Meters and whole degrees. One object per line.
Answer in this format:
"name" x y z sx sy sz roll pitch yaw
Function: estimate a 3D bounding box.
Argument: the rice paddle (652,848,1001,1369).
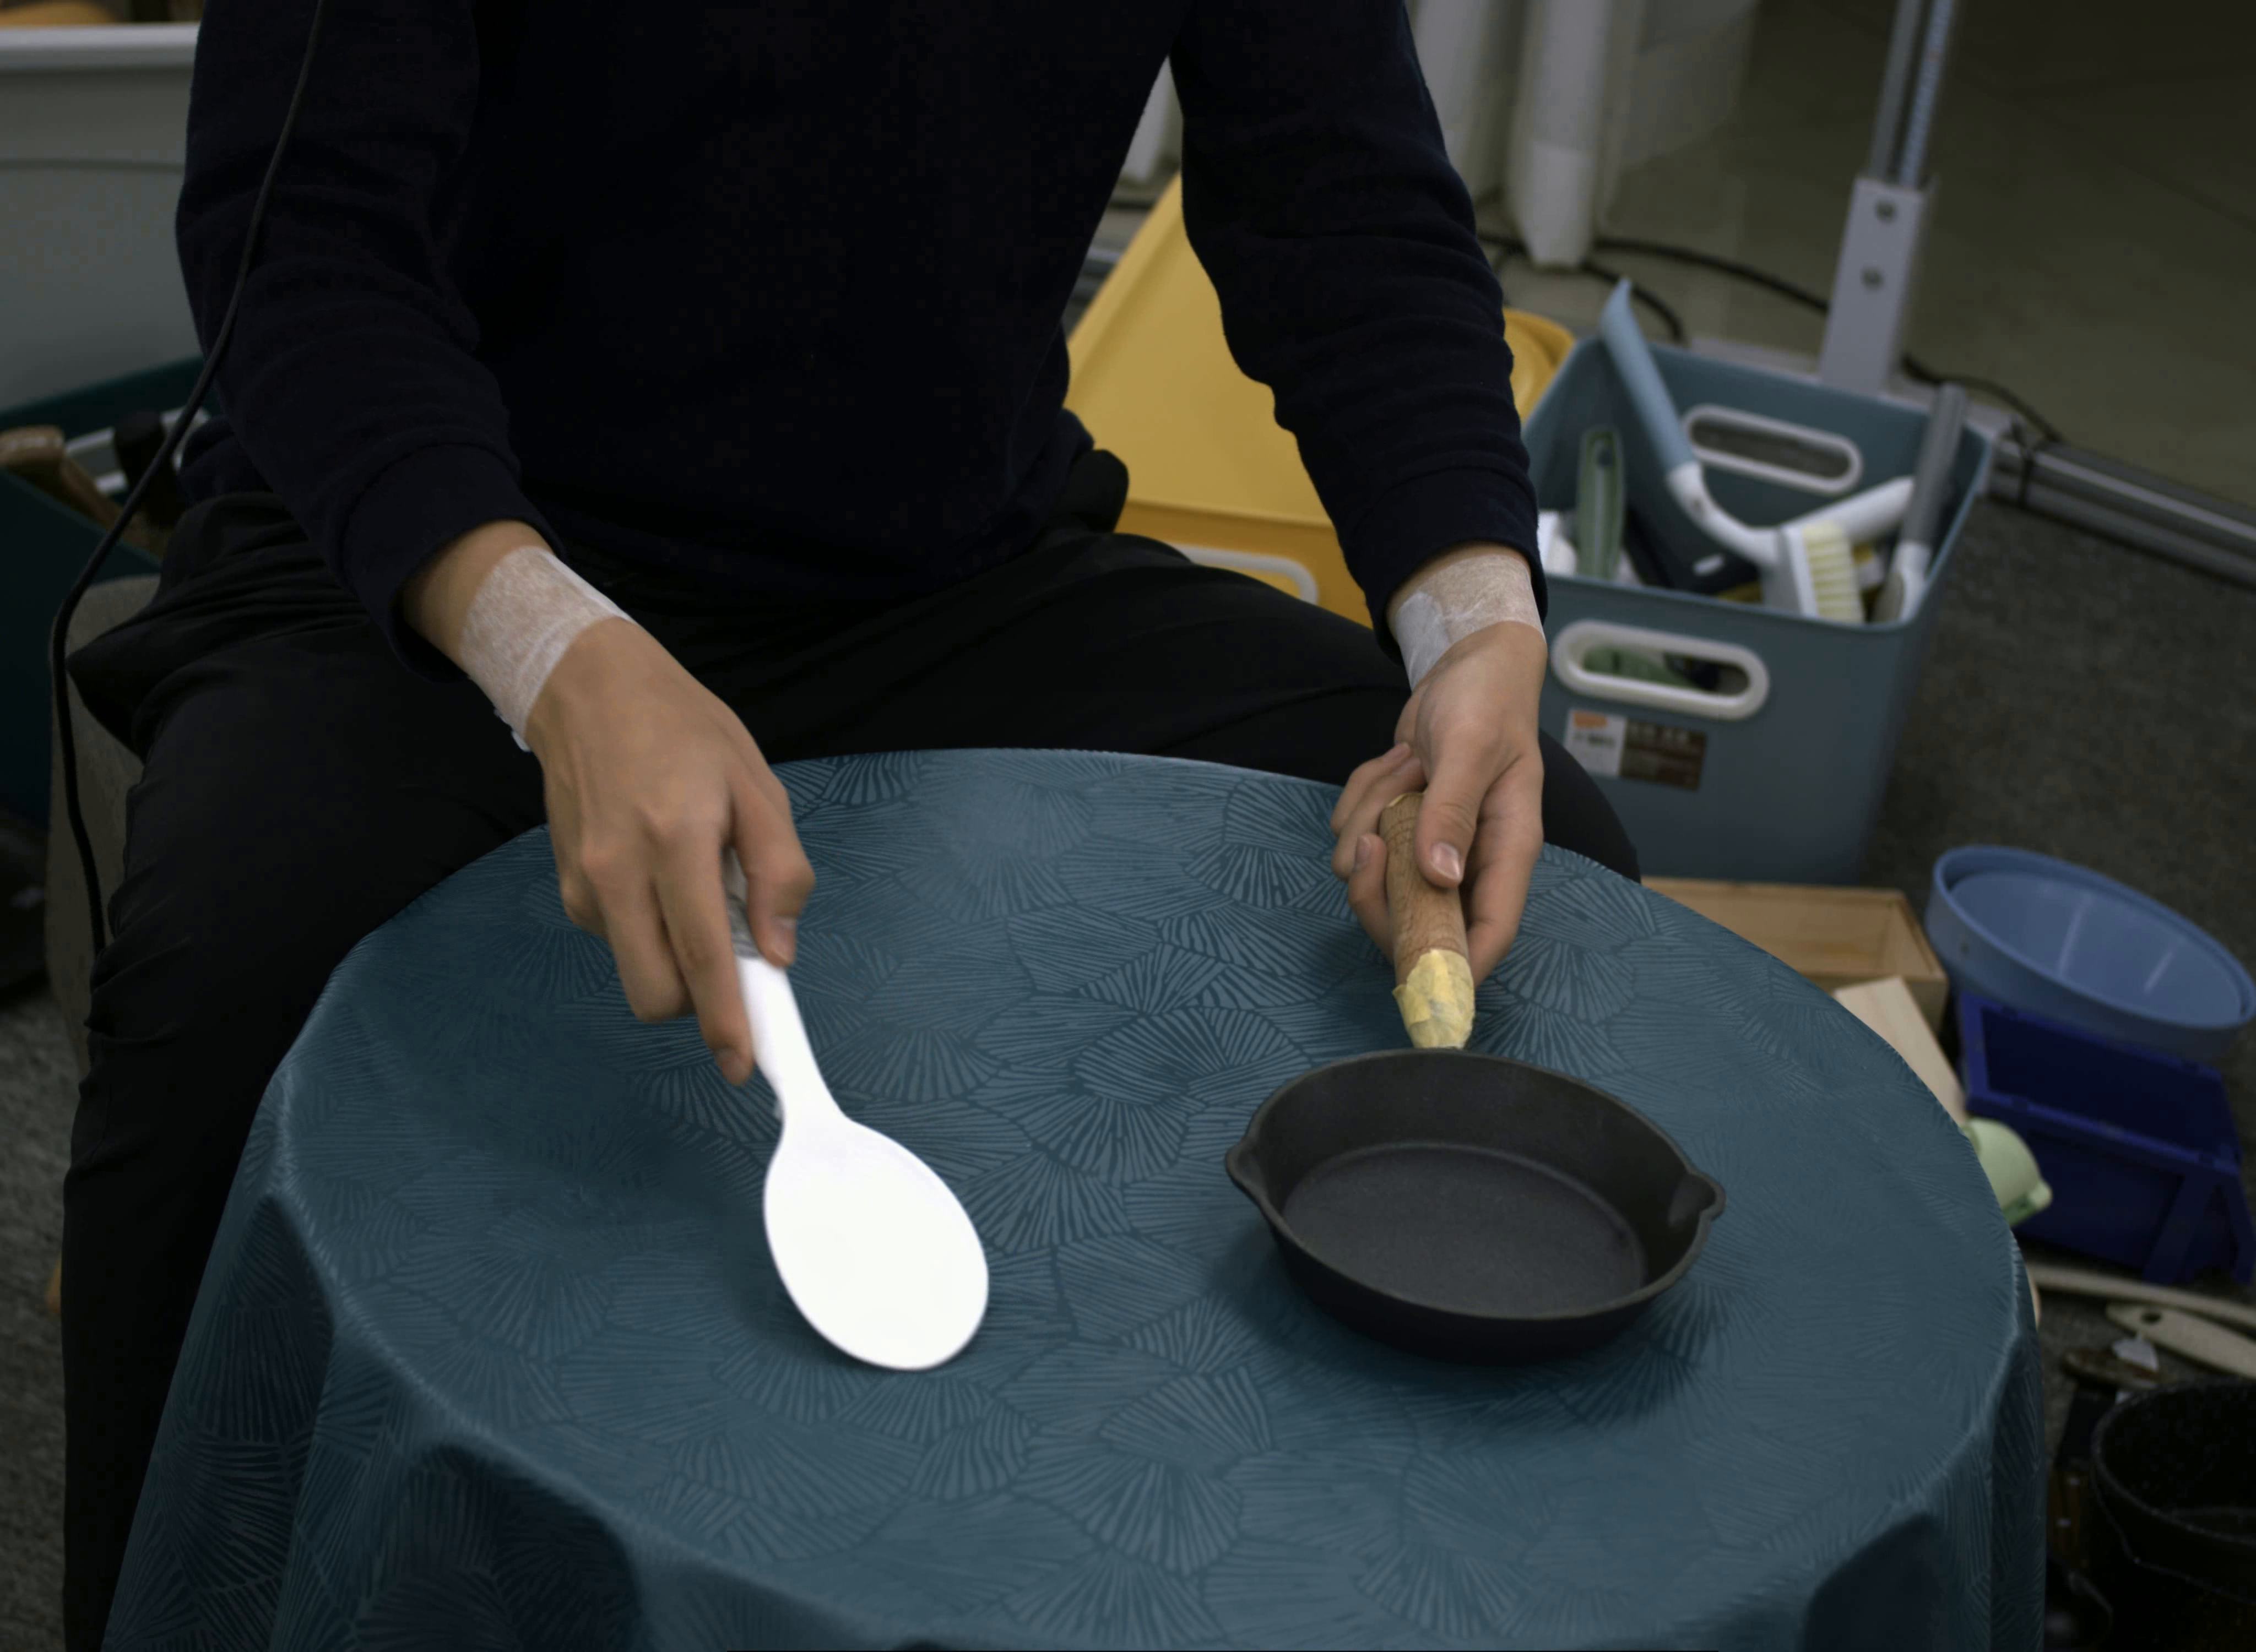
"rice paddle" -0.102 0.093 1.741 0.068 0.029 0.207 -15 56 -24

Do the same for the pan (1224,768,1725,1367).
"pan" 0.113 0.080 1.843 0.168 0.049 0.326 5 31 -4
